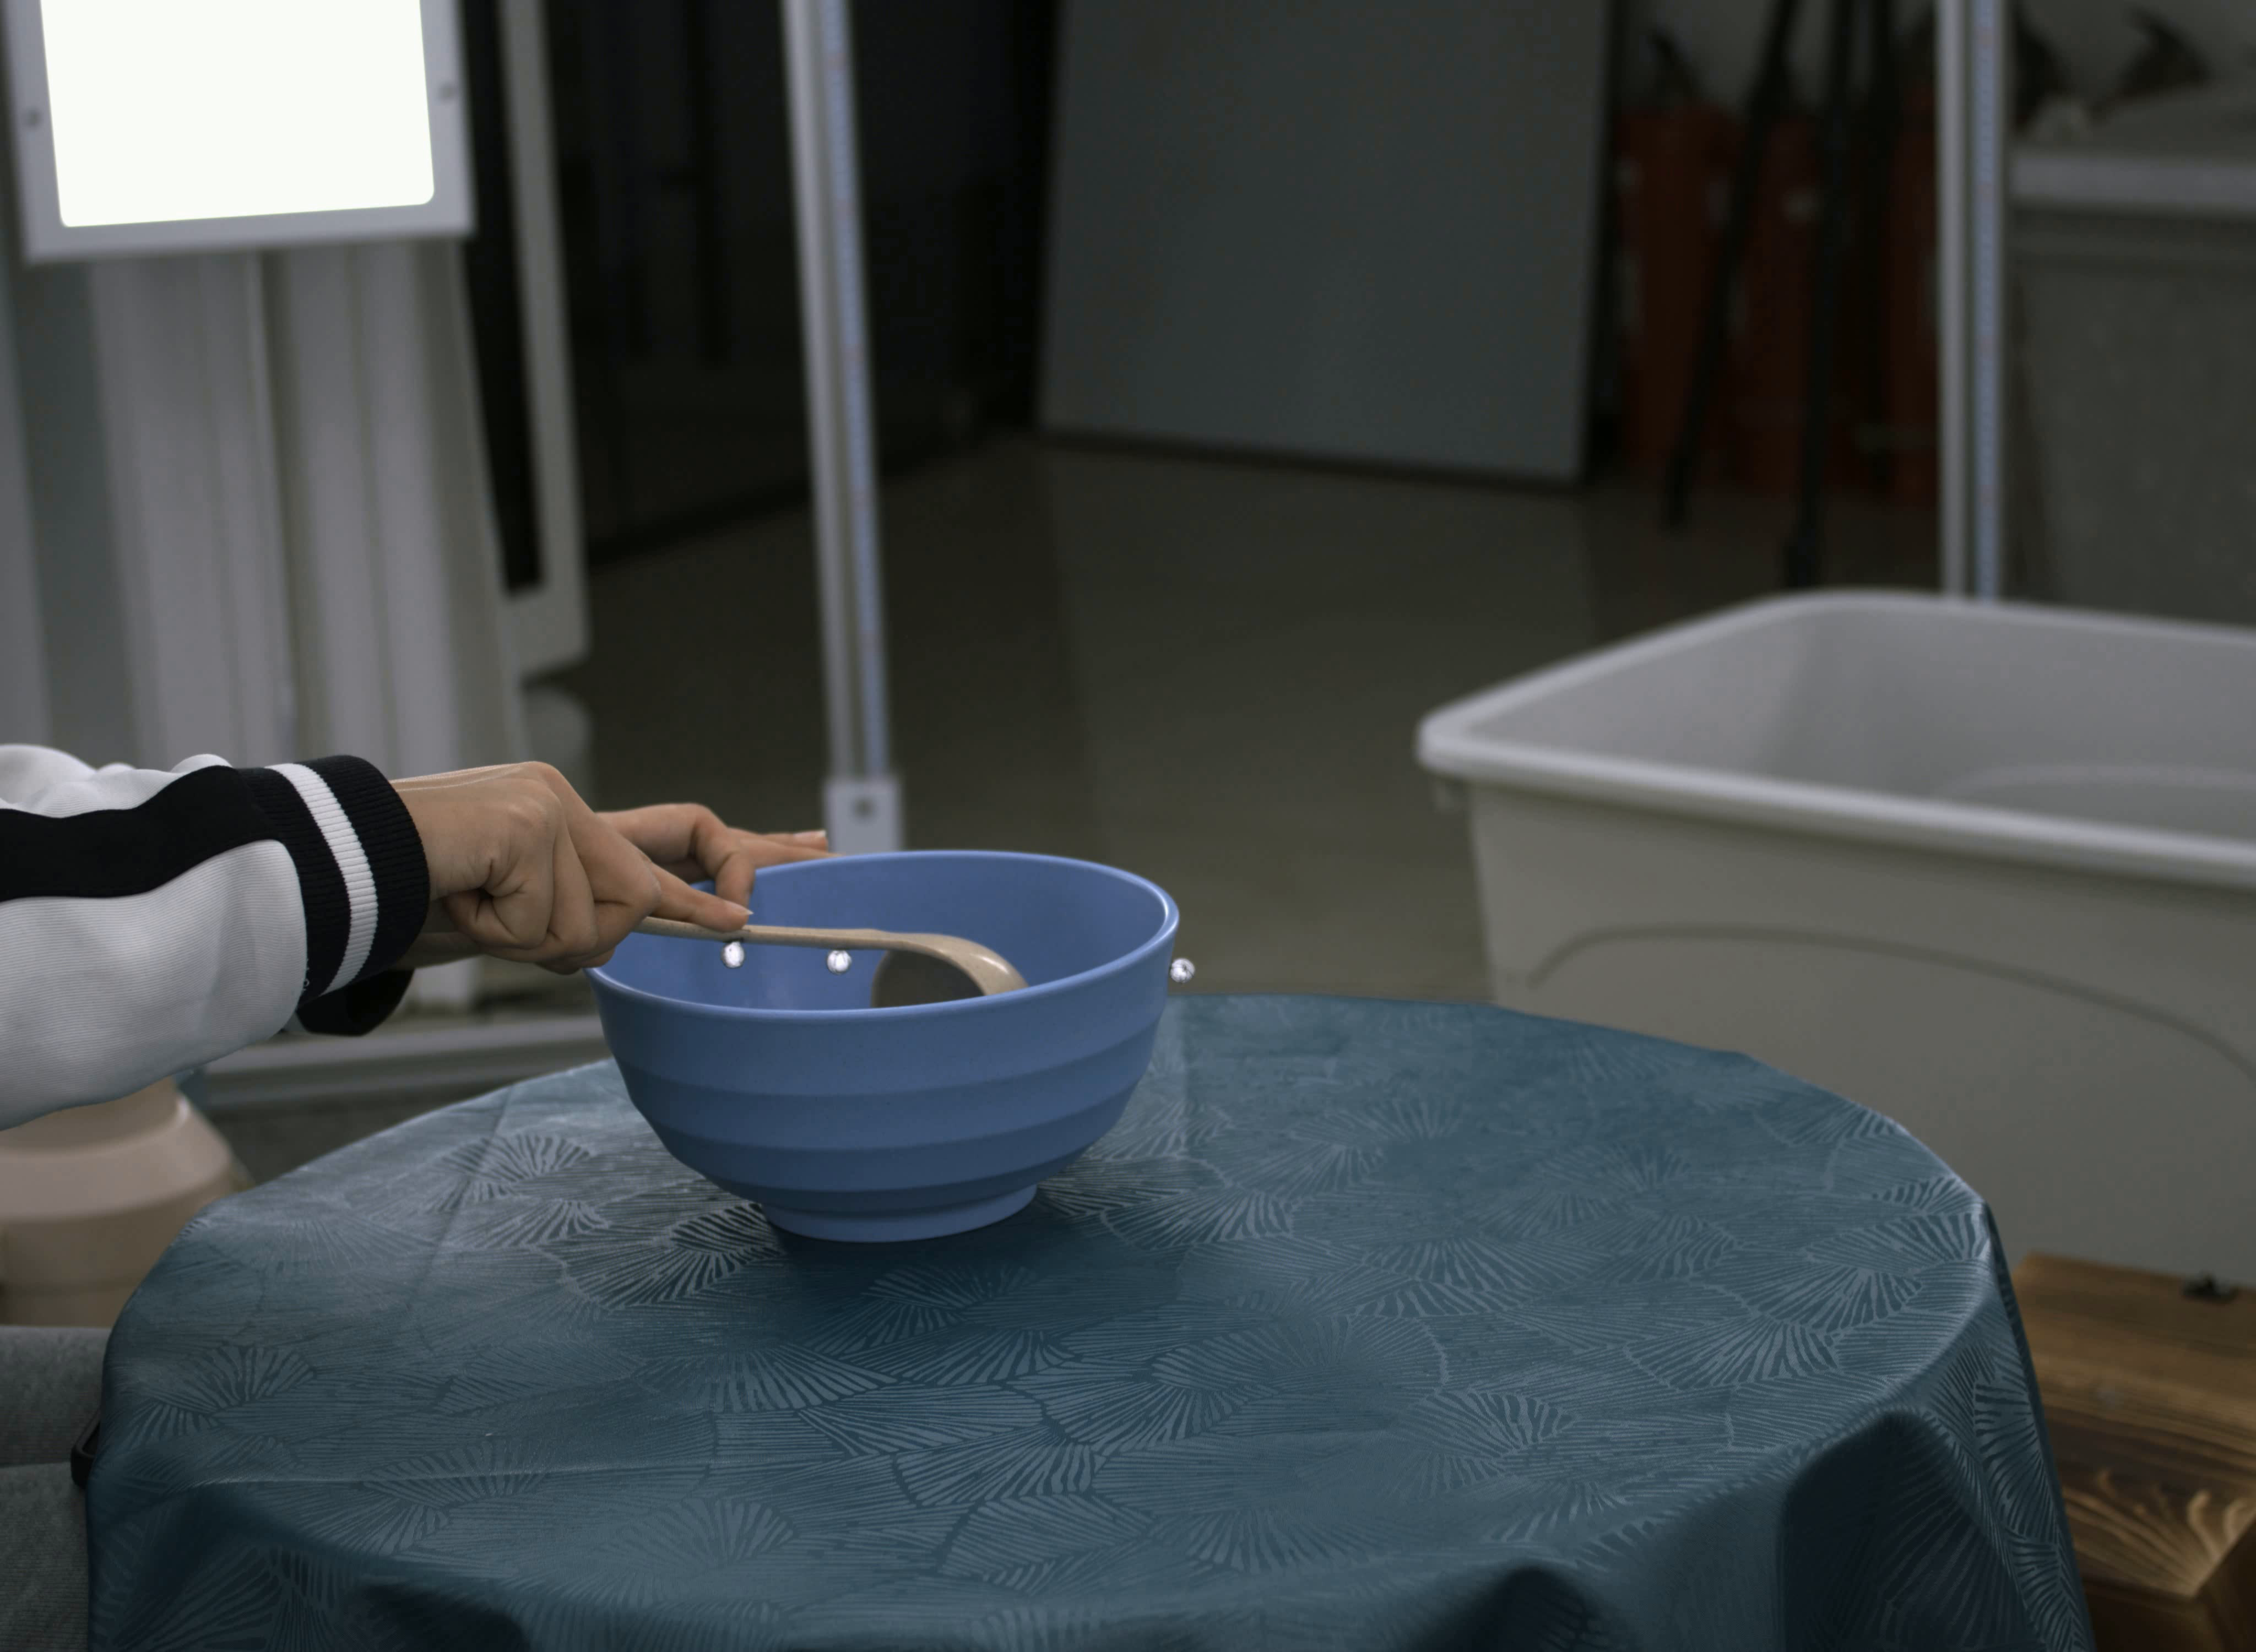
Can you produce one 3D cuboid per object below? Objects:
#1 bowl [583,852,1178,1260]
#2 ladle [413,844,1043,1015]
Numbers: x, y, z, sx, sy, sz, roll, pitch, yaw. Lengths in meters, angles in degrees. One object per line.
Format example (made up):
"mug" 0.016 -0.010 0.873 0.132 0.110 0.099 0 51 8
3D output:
"bowl" -0.077 0.081 1.768 0.194 0.096 0.197 -5 15 0
"ladle" -0.129 0.059 1.712 0.249 0.073 0.073 11 6 -40
